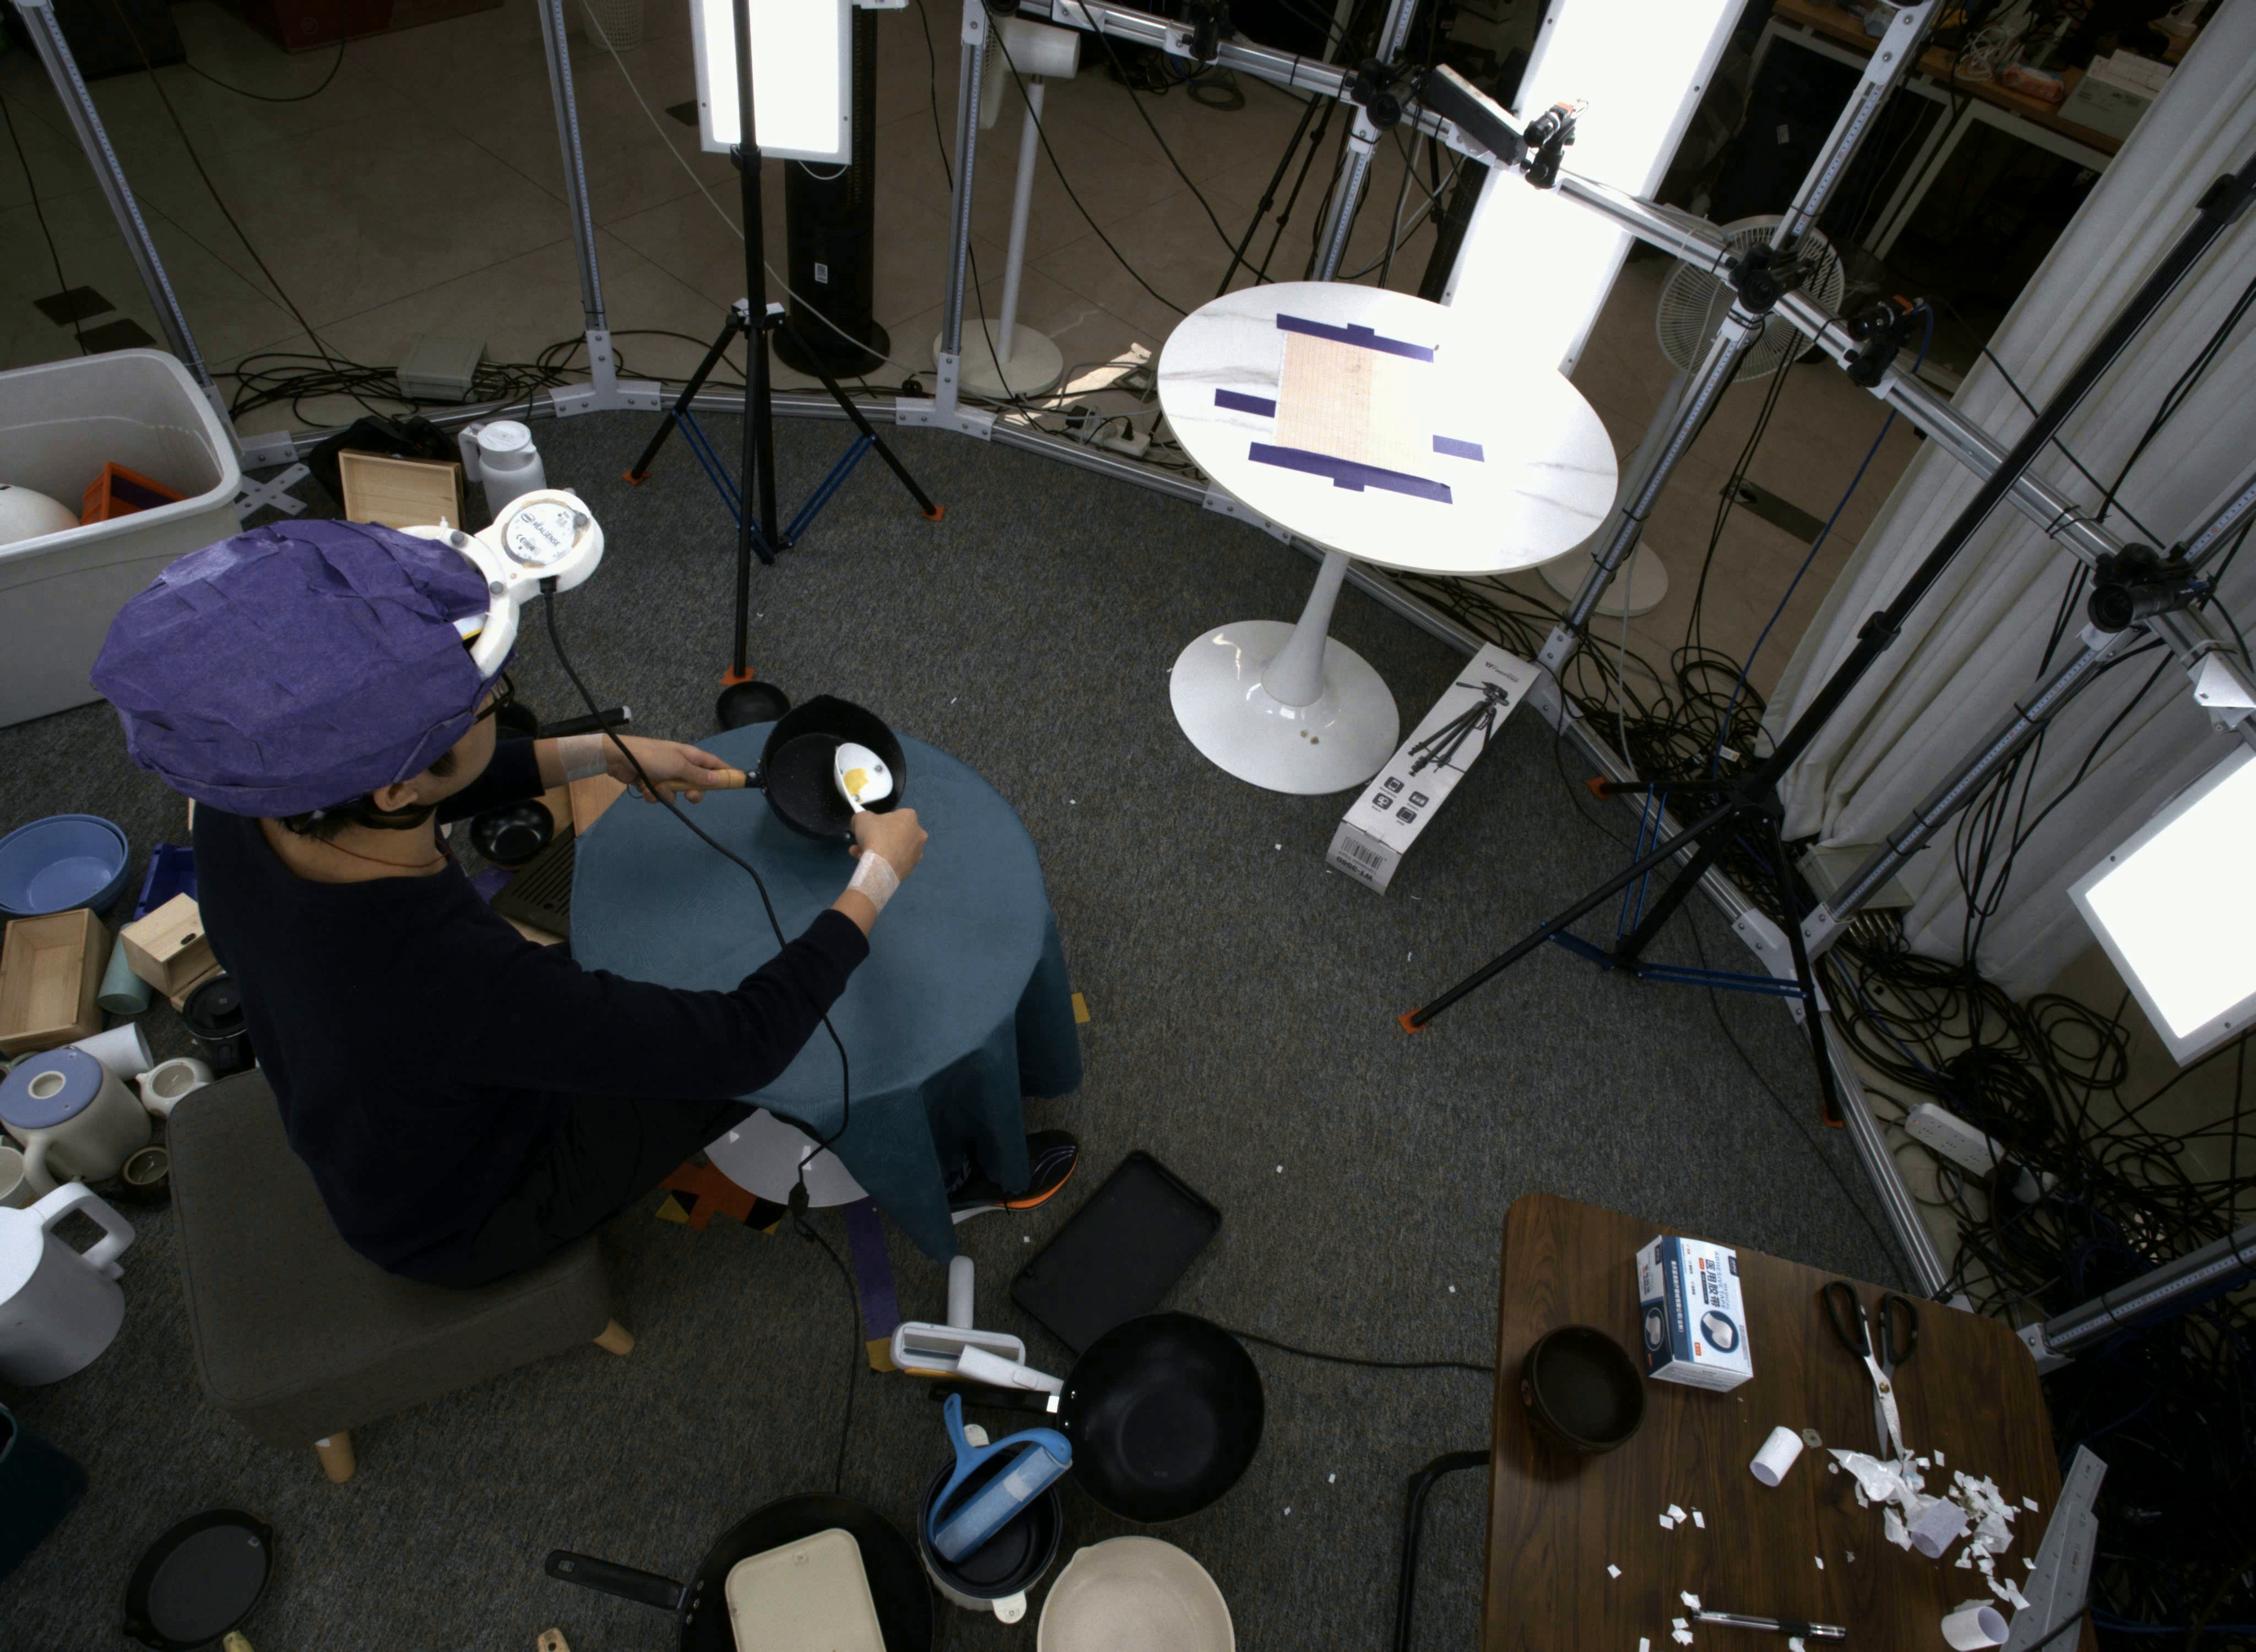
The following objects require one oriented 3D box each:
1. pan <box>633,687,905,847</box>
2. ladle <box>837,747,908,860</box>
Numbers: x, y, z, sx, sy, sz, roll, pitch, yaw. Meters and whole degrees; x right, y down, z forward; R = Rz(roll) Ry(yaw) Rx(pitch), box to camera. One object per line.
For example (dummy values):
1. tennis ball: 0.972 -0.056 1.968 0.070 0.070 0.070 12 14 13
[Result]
1. pan: -0.455 -0.060 1.635 0.346 0.107 0.208 -9 81 -31
2. ladle: -0.308 -0.028 1.609 0.070 0.093 0.283 -39 28 -9
